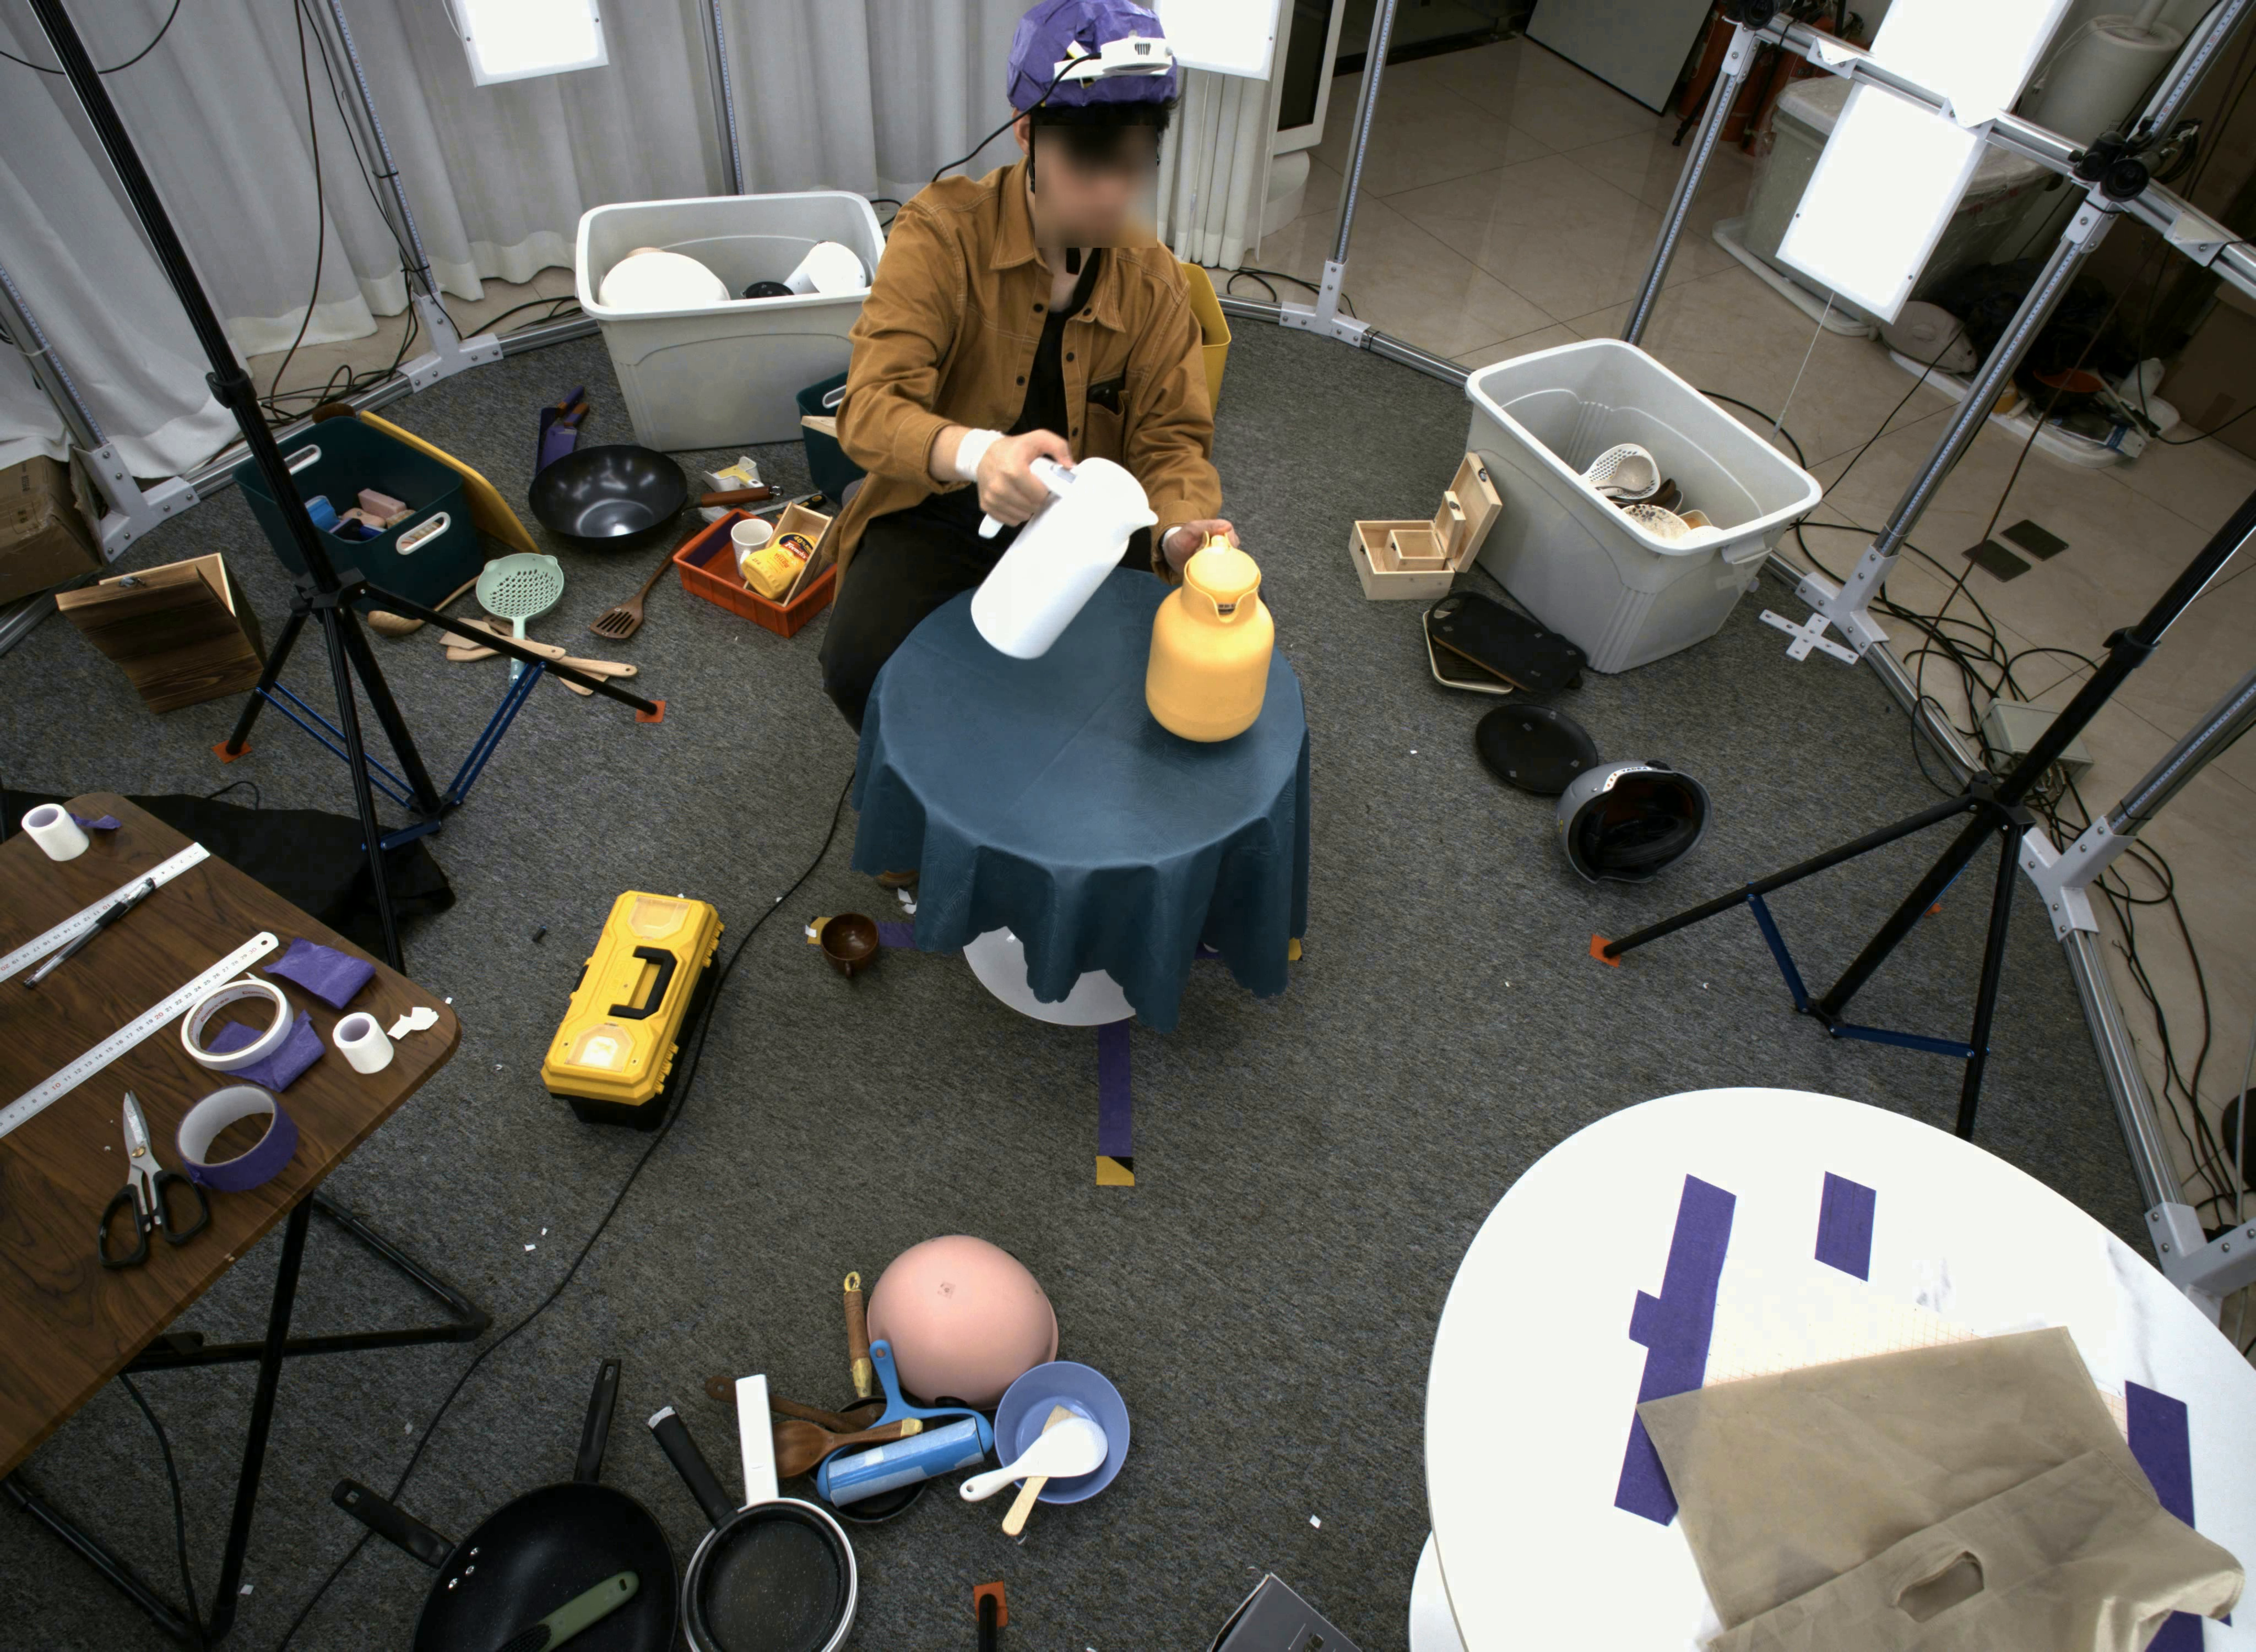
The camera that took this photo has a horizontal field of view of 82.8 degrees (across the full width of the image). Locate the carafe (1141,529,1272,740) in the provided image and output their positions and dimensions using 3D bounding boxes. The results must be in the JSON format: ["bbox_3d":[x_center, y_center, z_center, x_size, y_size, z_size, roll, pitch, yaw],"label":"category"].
[{"bbox_3d":[0.109,-0.261,1.706,0.163,0.254,0.207,5,50,-4],"label":"carafe"}]

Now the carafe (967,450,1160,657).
[{"bbox_3d":[-0.103,-0.334,1.576,0.171,0.265,0.127,24,49,-23],"label":"carafe"}]
